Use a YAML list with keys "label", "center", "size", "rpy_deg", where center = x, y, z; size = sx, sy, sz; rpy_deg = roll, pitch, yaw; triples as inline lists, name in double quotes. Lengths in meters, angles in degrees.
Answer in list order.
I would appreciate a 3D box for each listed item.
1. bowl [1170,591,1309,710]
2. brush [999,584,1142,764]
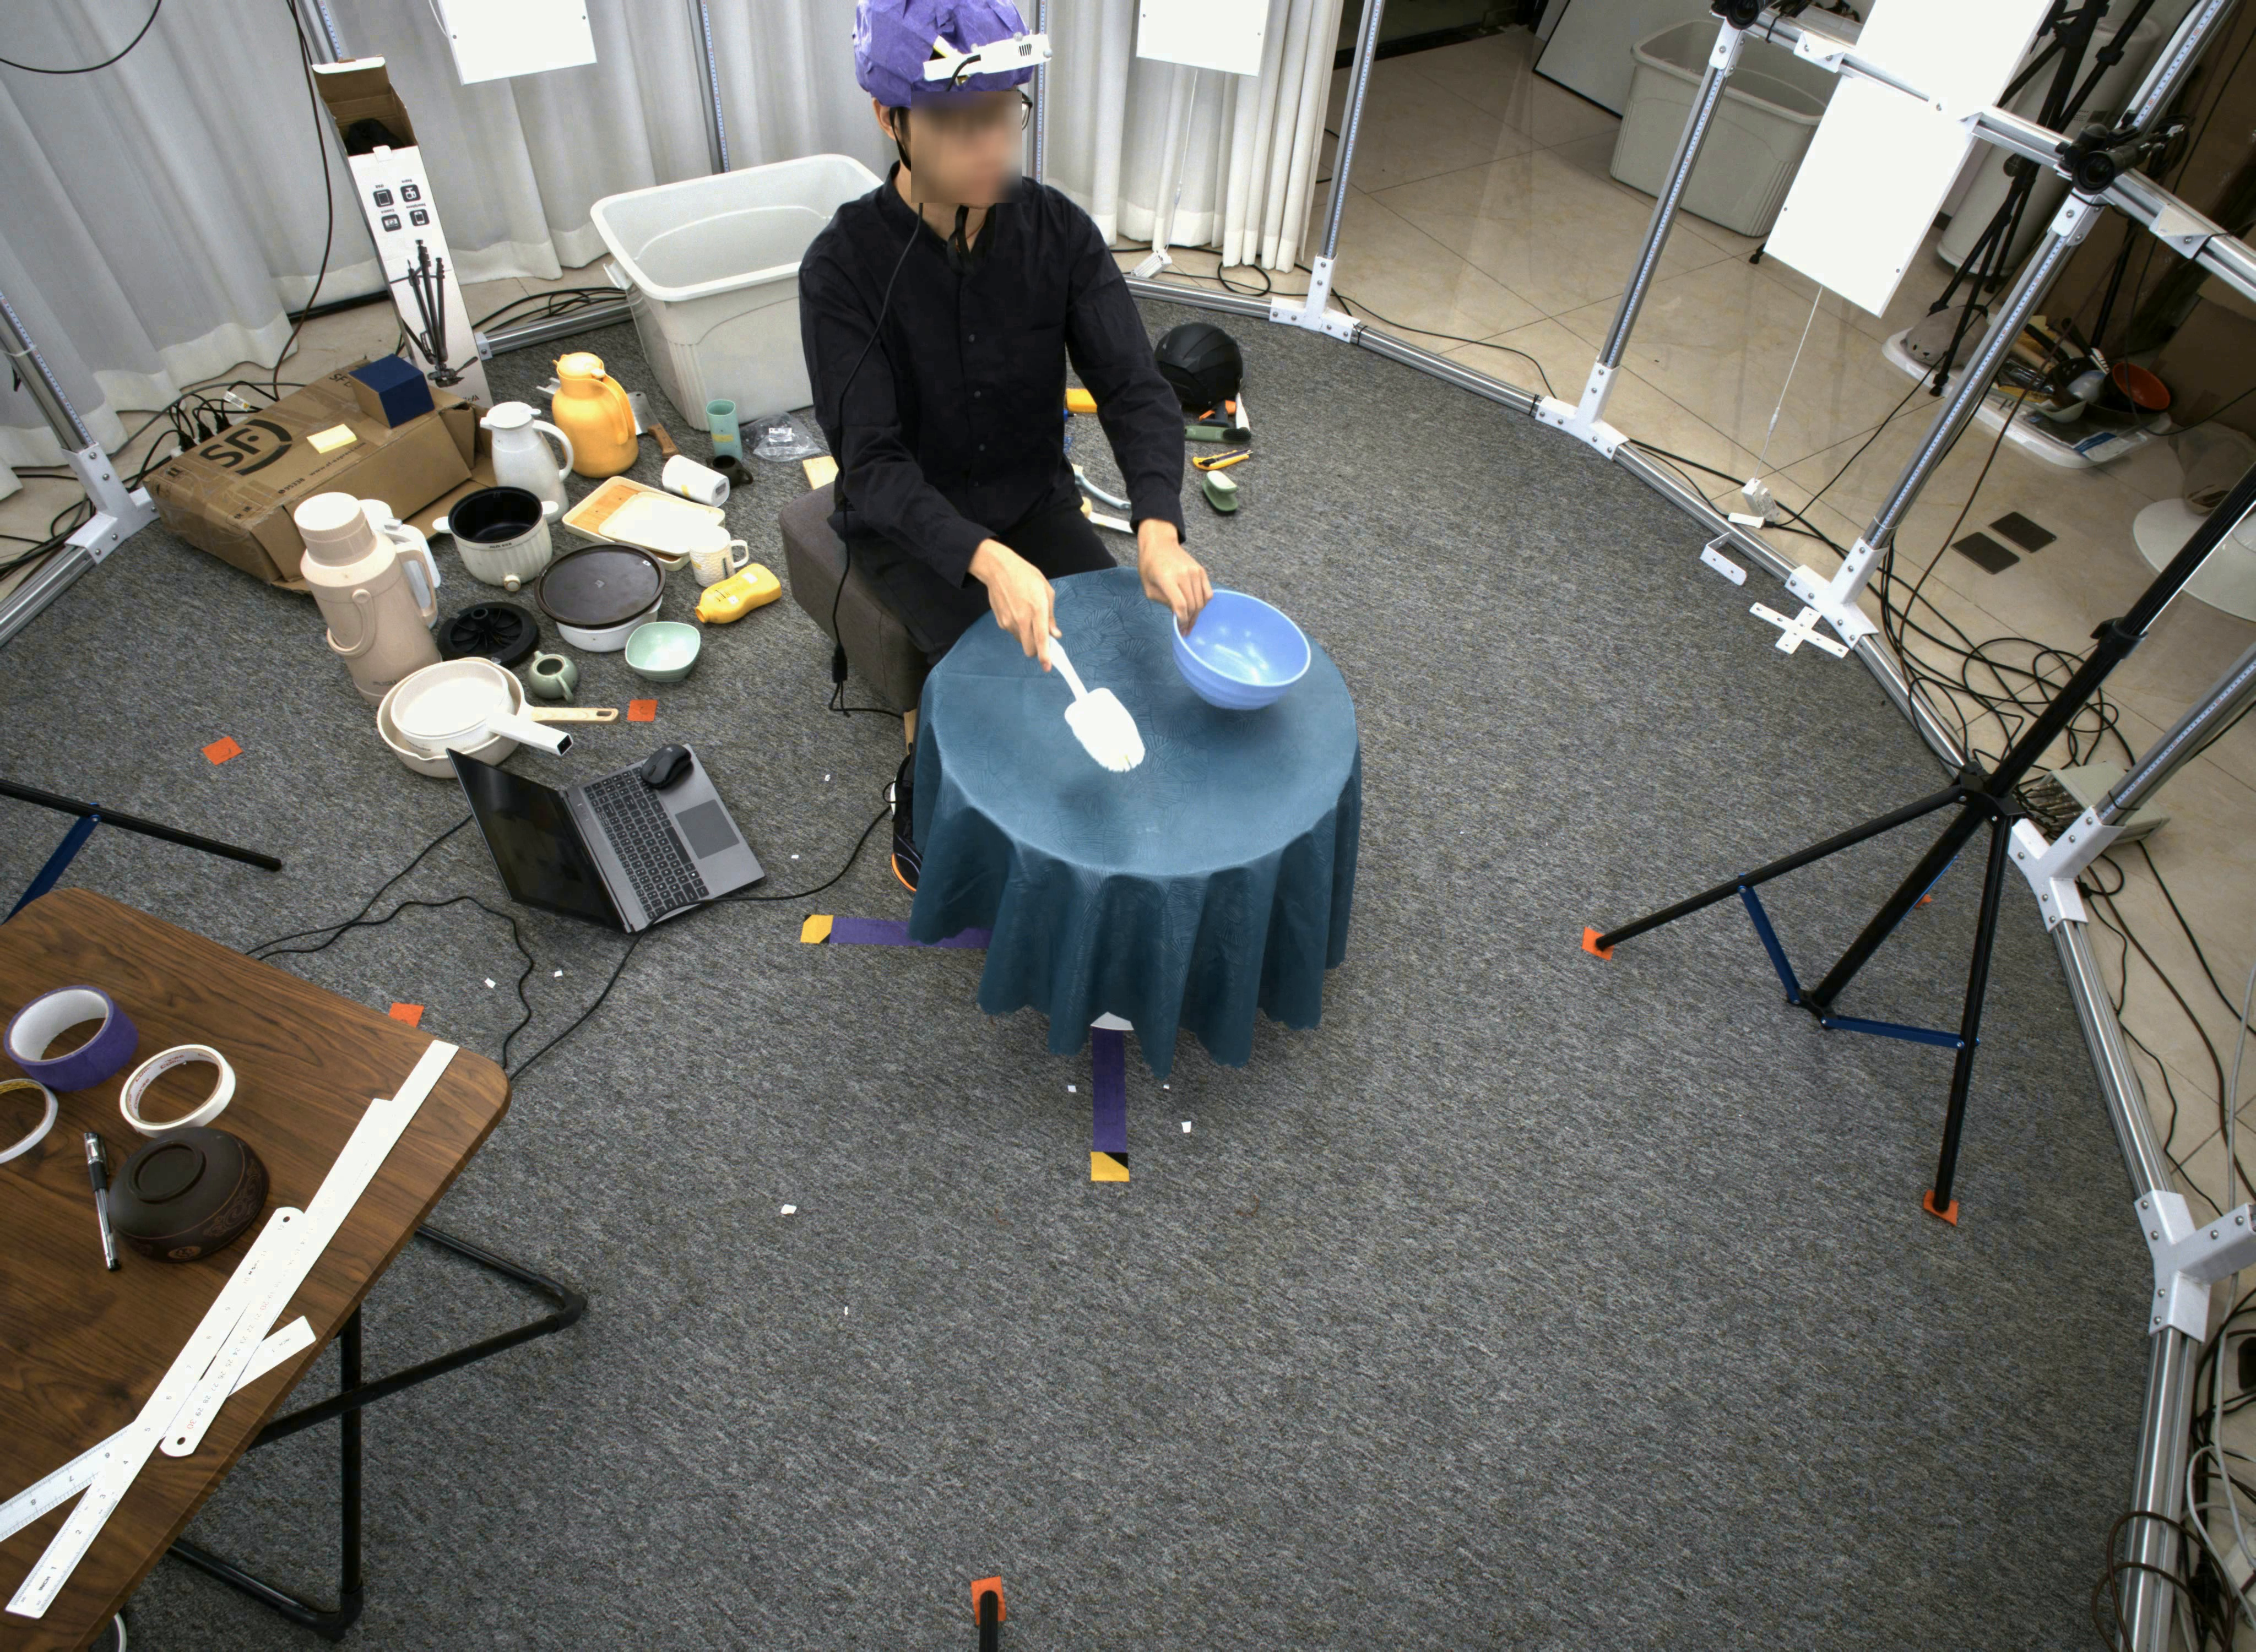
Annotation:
- label: "bowl"
  center: [0.141, -0.227, 1.772]
  size: [0.196, 0.093, 0.201]
  rpy_deg: [10, 44, -10]
- label: "brush"
  center: [-0.075, -0.198, 1.699]
  size: [0.083, 0.083, 0.332]
  rpy_deg: [-9, 50, -39]
